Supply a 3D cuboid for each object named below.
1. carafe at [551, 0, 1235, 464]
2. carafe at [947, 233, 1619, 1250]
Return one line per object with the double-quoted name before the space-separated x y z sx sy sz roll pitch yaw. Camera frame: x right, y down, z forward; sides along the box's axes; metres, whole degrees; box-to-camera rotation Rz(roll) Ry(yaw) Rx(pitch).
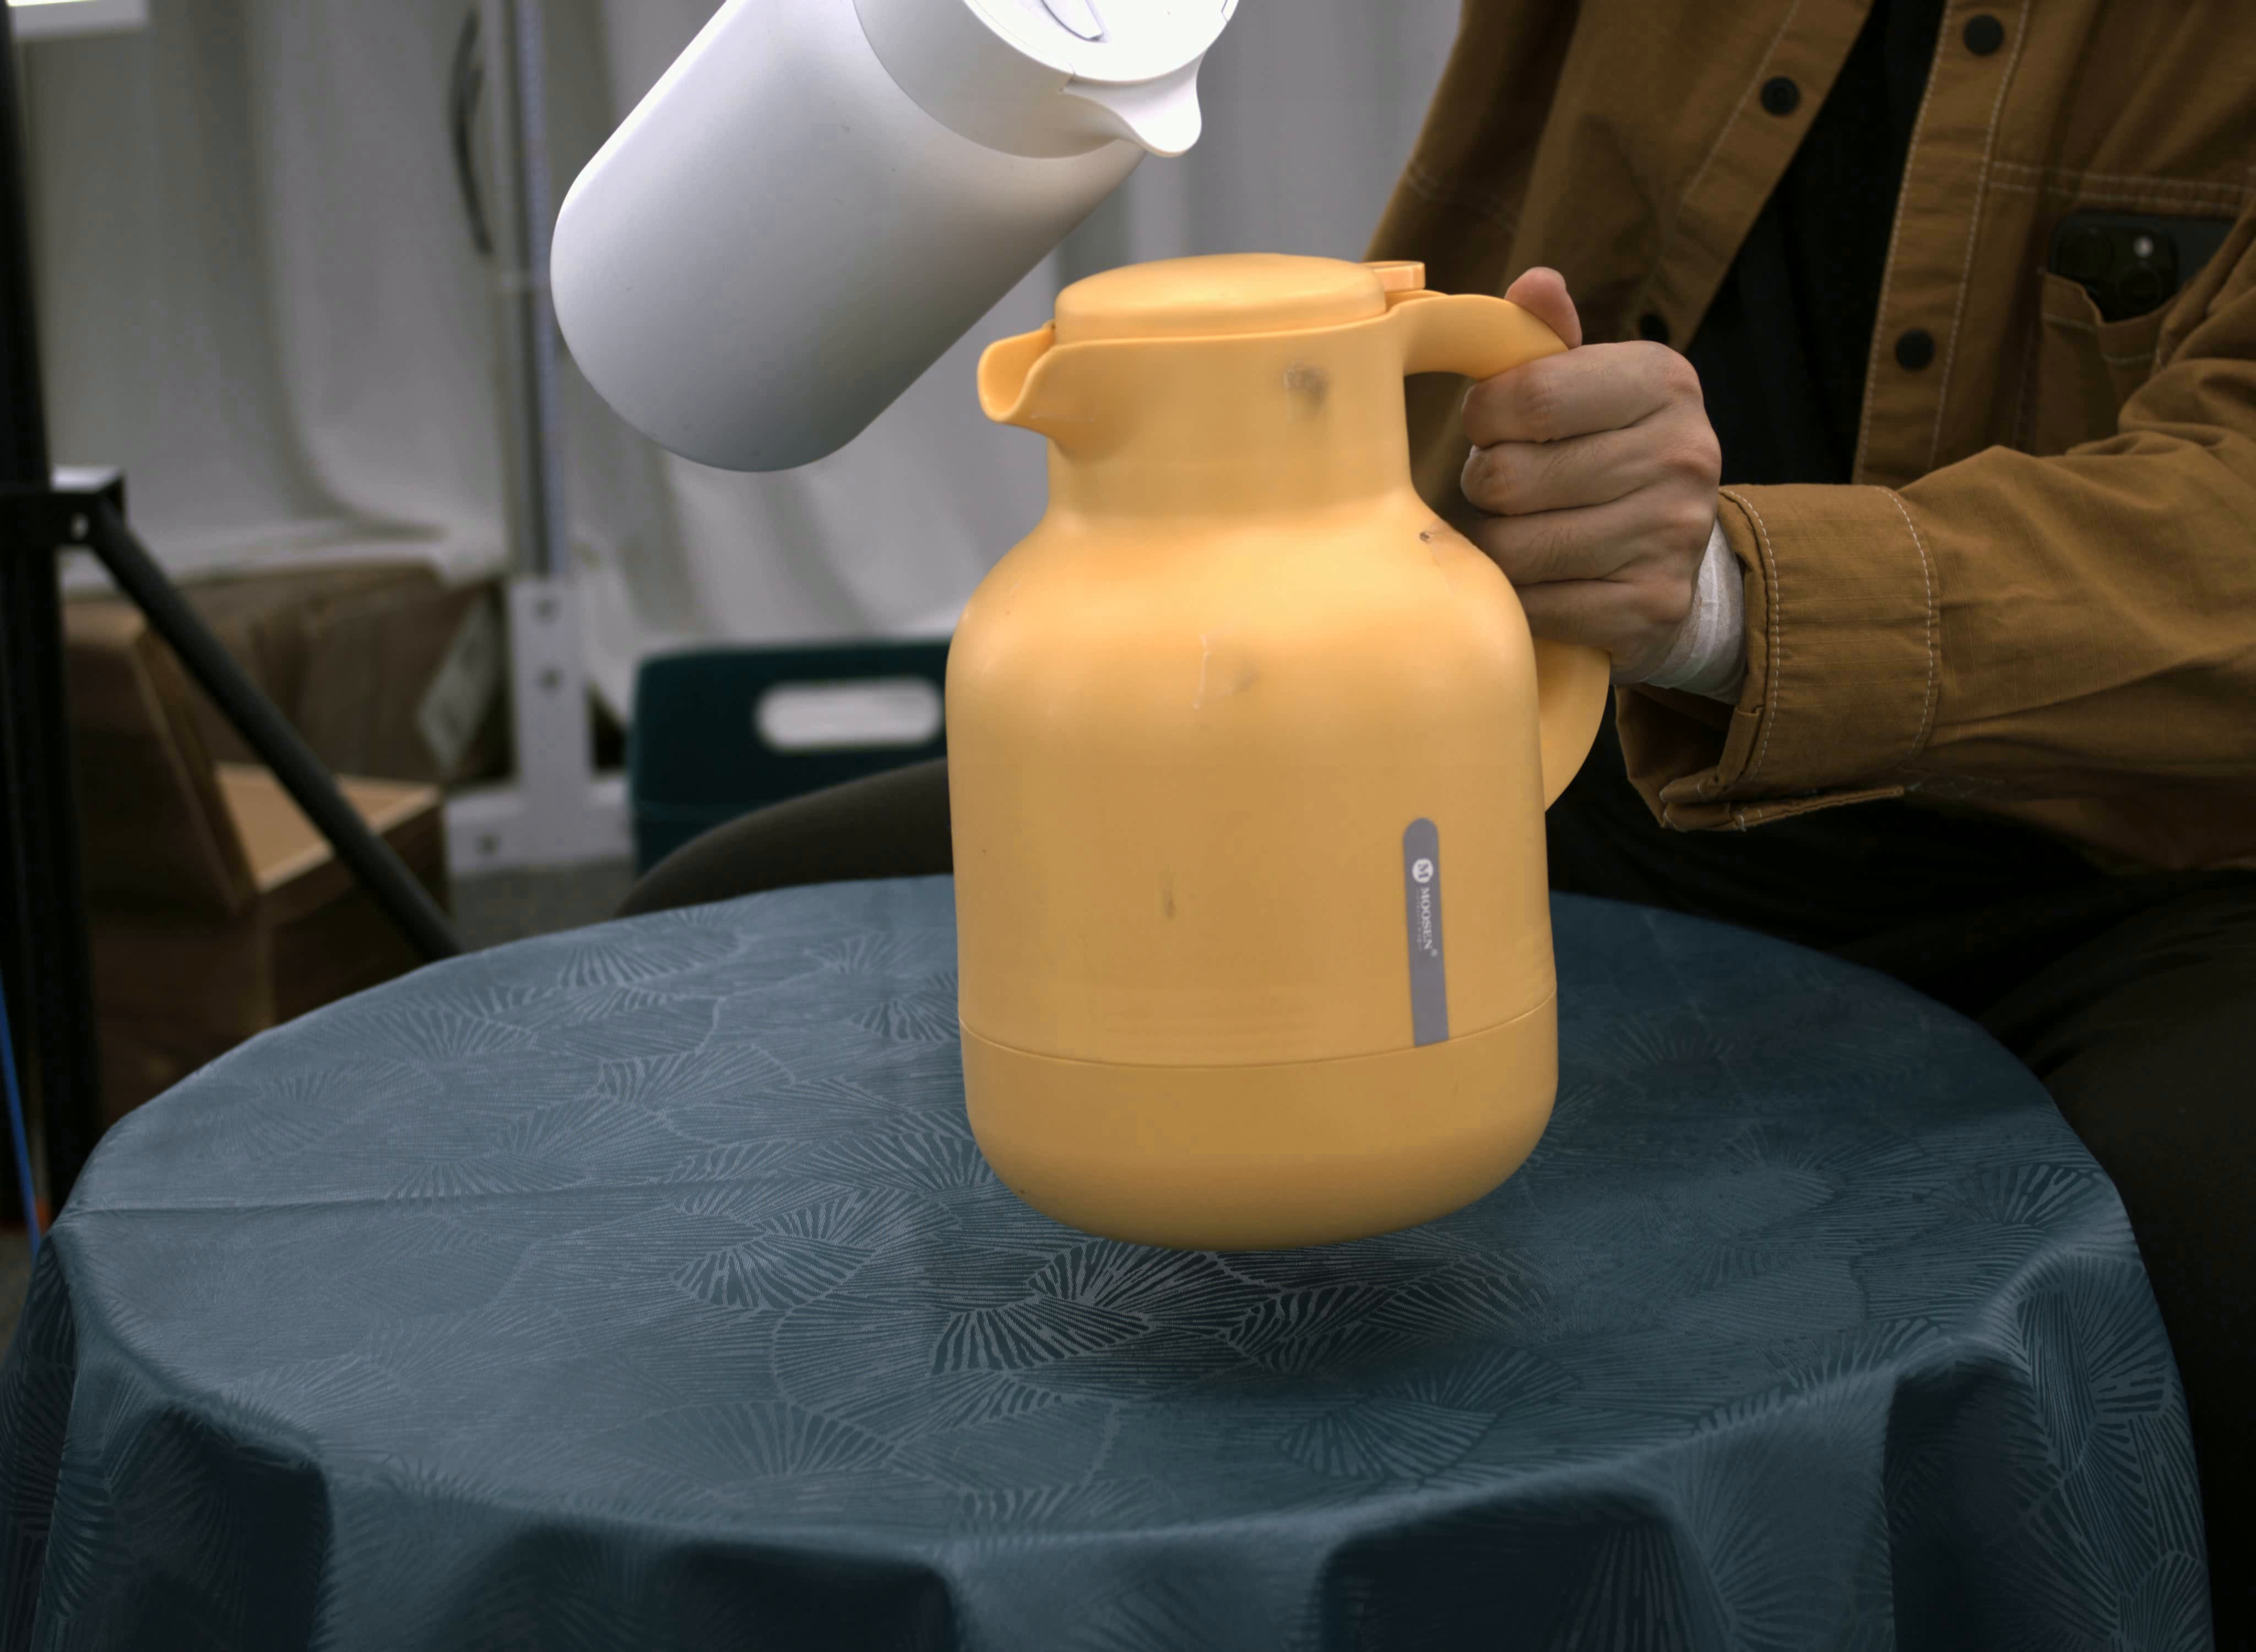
"carafe" -0.077 -0.220 1.539 0.121 0.174 0.272 -23 -8 -29
"carafe" 0.049 -0.029 1.436 0.198 0.260 0.167 -12 16 -29
